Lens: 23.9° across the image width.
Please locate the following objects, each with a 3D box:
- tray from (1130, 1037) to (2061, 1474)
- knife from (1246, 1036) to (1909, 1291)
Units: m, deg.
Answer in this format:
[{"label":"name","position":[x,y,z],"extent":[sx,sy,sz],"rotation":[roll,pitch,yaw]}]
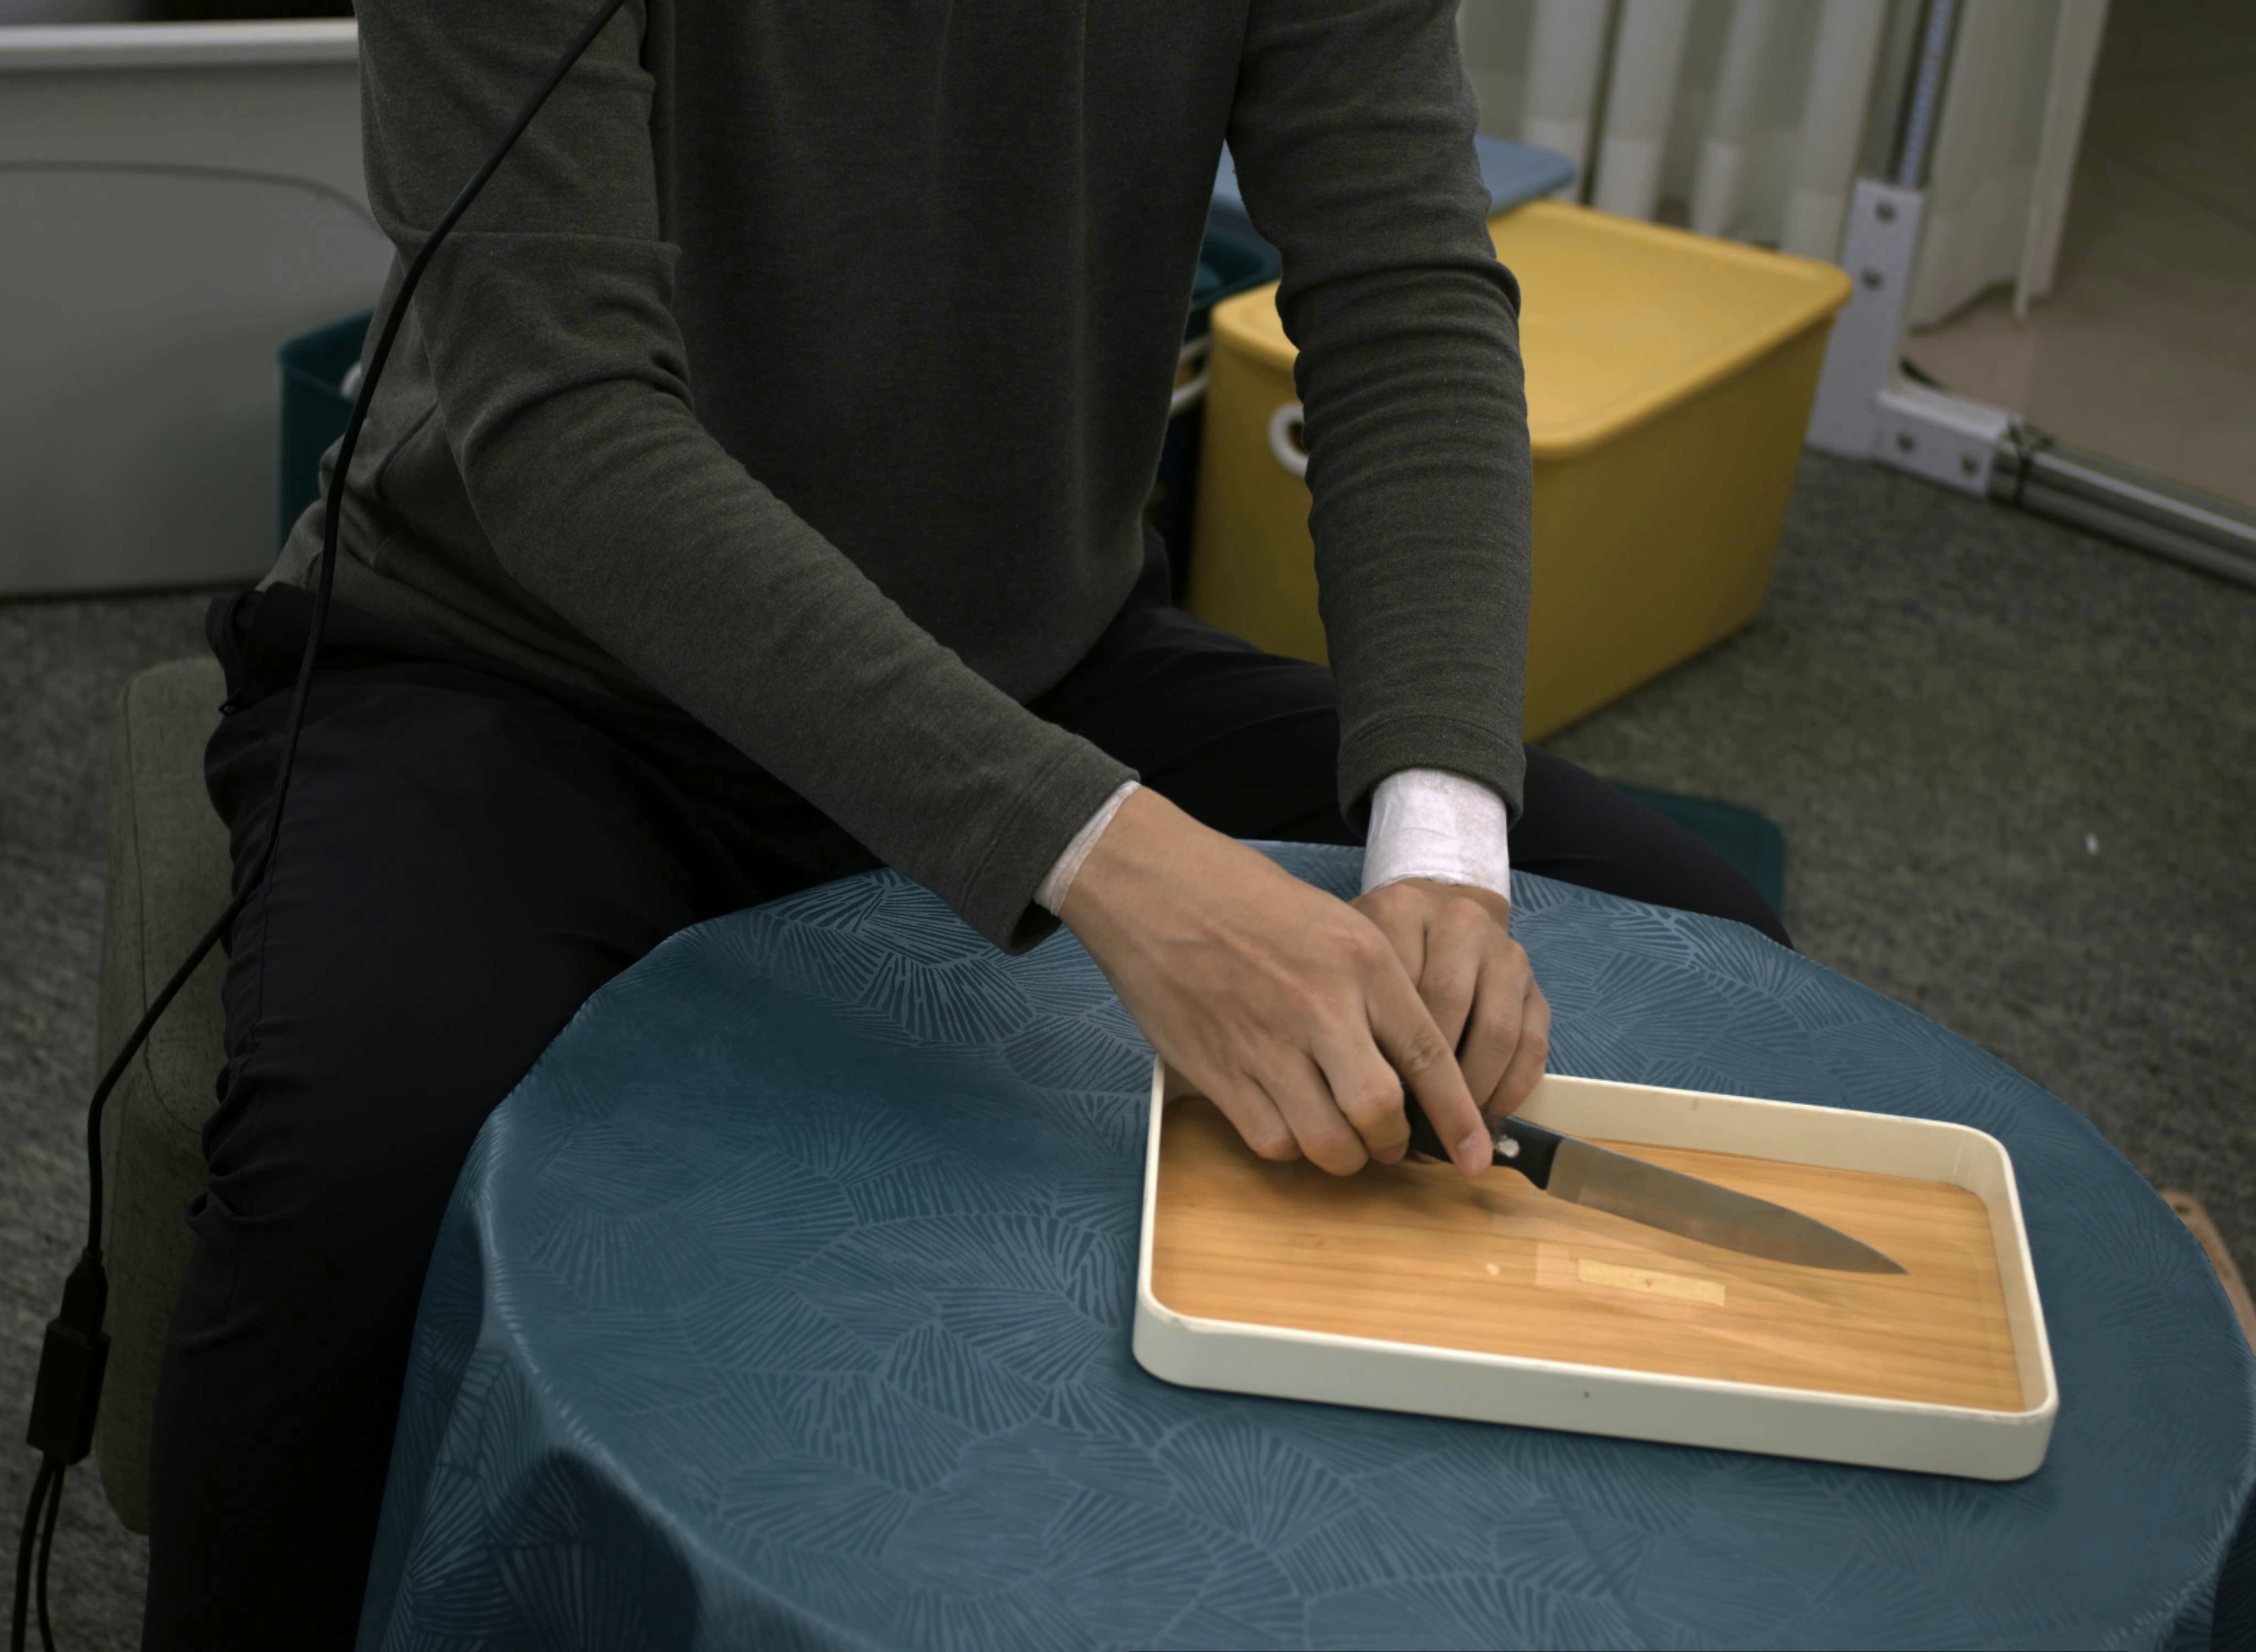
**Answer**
[{"label":"tray","position":[0.153,0.141,1.776],"extent":[0.299,0.027,0.192],"rotation":[7,26,0]},{"label":"knife","position":[0.151,0.114,1.795],"extent":[0.239,0.024,0.016],"rotation":[19,16,17]}]
